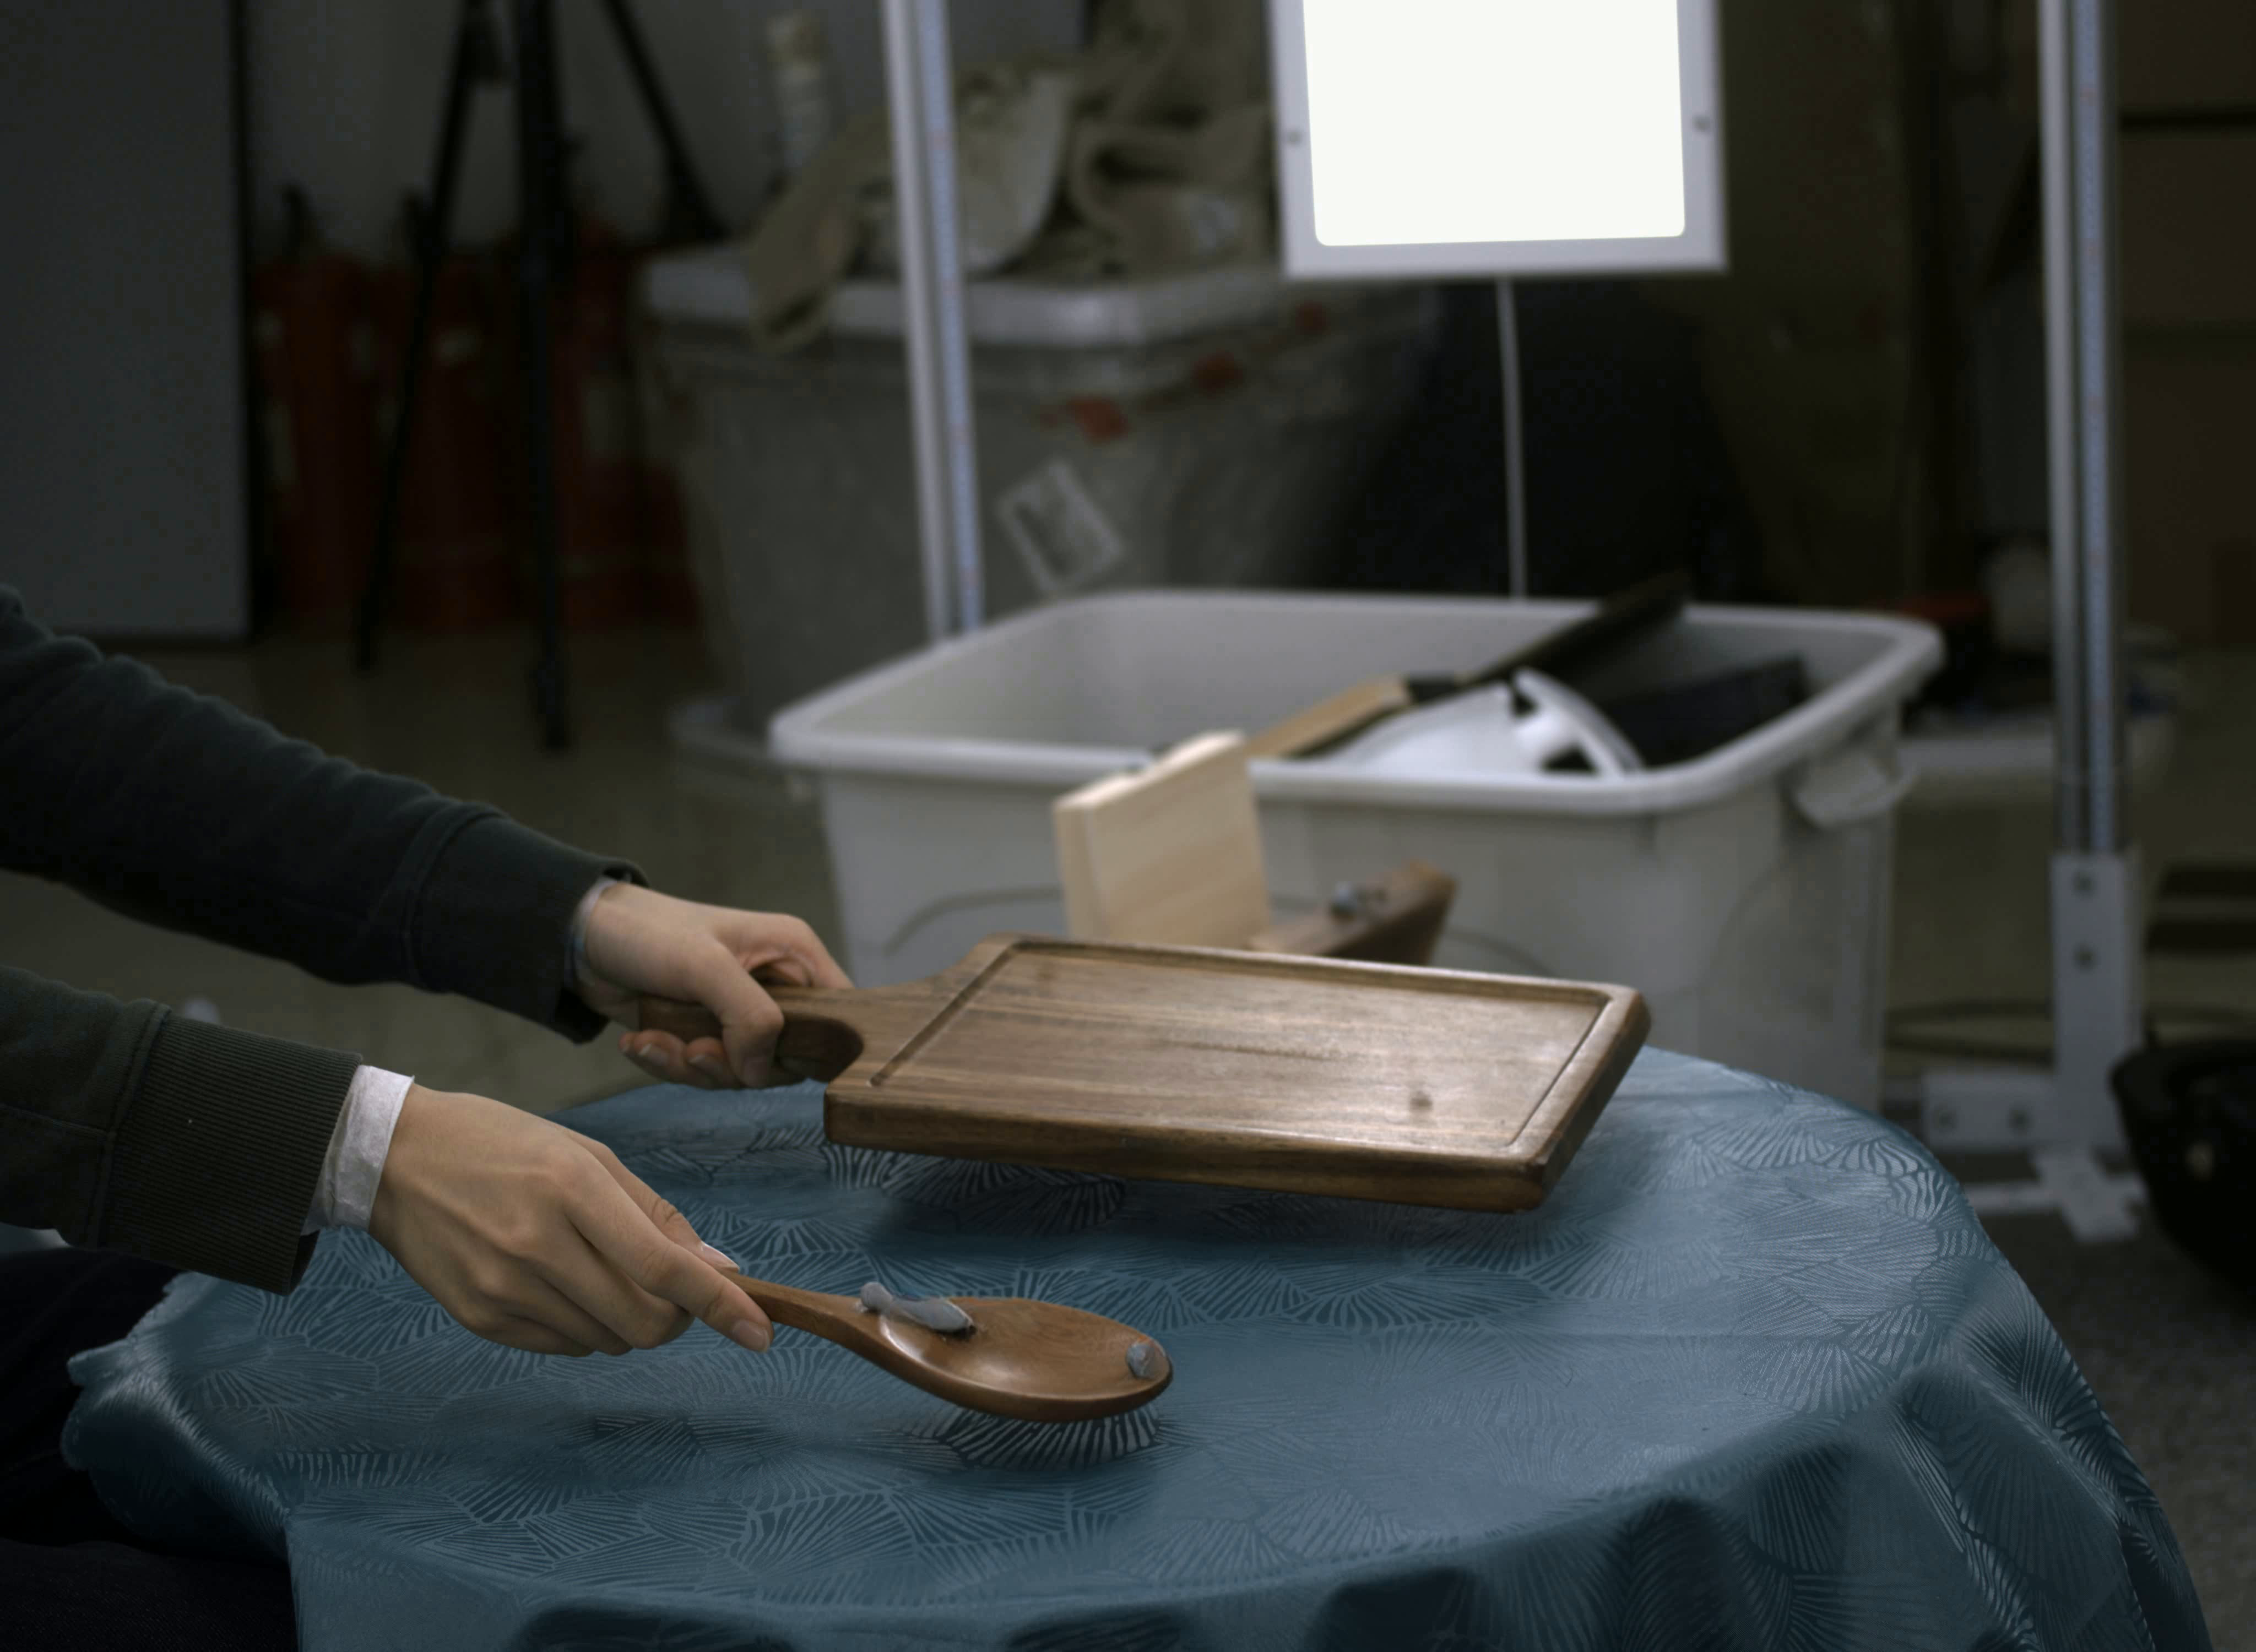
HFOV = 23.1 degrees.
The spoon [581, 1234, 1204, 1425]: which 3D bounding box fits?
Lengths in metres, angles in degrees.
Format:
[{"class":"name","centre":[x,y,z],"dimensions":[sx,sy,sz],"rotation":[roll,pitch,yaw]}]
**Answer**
[{"class":"spoon","centre":[-0.076,0.155,1.695],"dimensions":[0.219,0.017,0.074],"rotation":[11,17,29]}]

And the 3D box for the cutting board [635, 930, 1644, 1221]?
[{"class":"cutting board","centre":[-0.006,0.080,1.928],"dimensions":[0.356,0.023,0.198],"rotation":[4,18,17]}]
